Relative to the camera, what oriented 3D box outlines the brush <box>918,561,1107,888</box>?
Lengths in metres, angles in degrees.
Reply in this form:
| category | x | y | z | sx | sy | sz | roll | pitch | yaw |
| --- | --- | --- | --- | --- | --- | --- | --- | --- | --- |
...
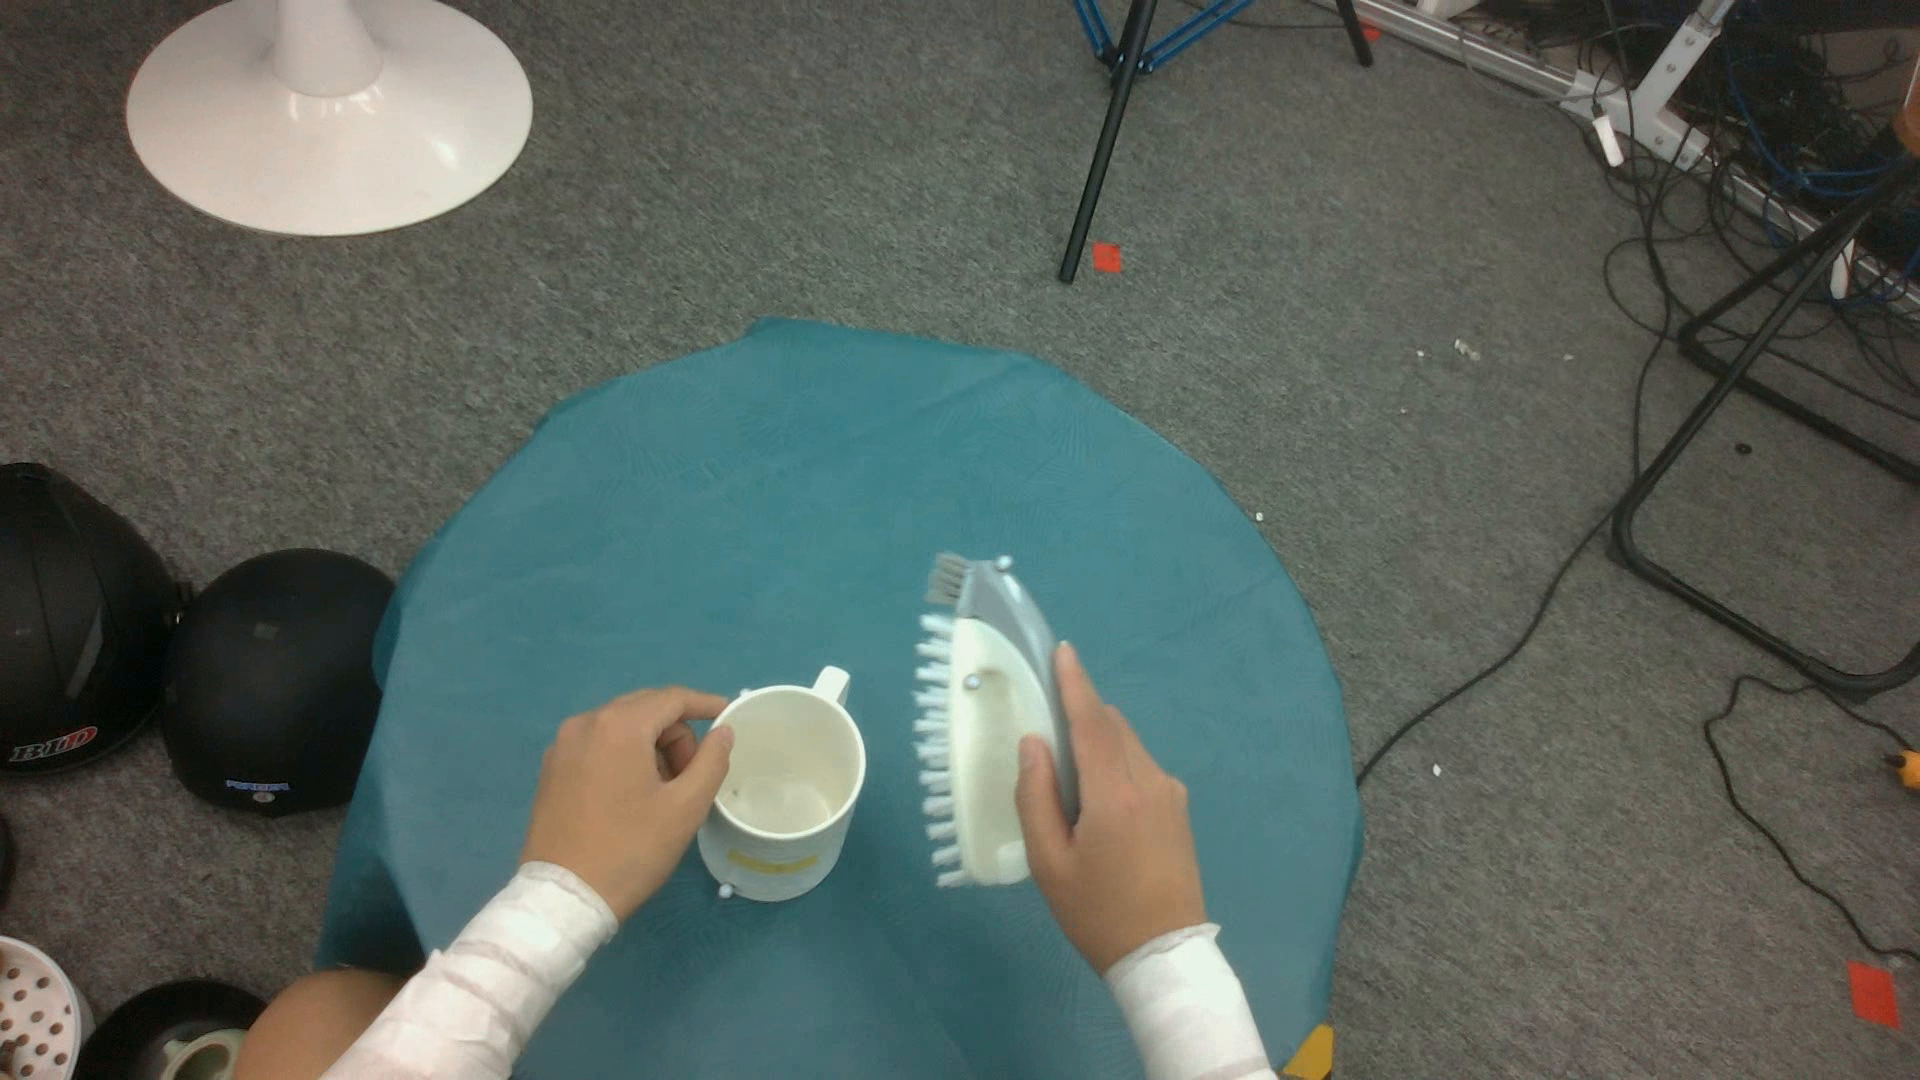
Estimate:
| category | x | y | z | sx | sy | sz | roll | pitch | yaw |
| --- | --- | --- | --- | --- | --- | --- | --- | --- | --- |
| brush | 0.028 | 0.090 | 0.719 | 0.061 | 0.094 | 0.175 | -5 | 82 | -47 |

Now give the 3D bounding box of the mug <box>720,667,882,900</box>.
| category | x | y | z | sx | sy | sz | roll | pitch | yaw |
| --- | --- | --- | --- | --- | --- | --- | --- | --- | --- |
| mug | -0.085 | 0.131 | 0.773 | 0.085 | 0.101 | 0.119 | 21 | 54 | 4 |
